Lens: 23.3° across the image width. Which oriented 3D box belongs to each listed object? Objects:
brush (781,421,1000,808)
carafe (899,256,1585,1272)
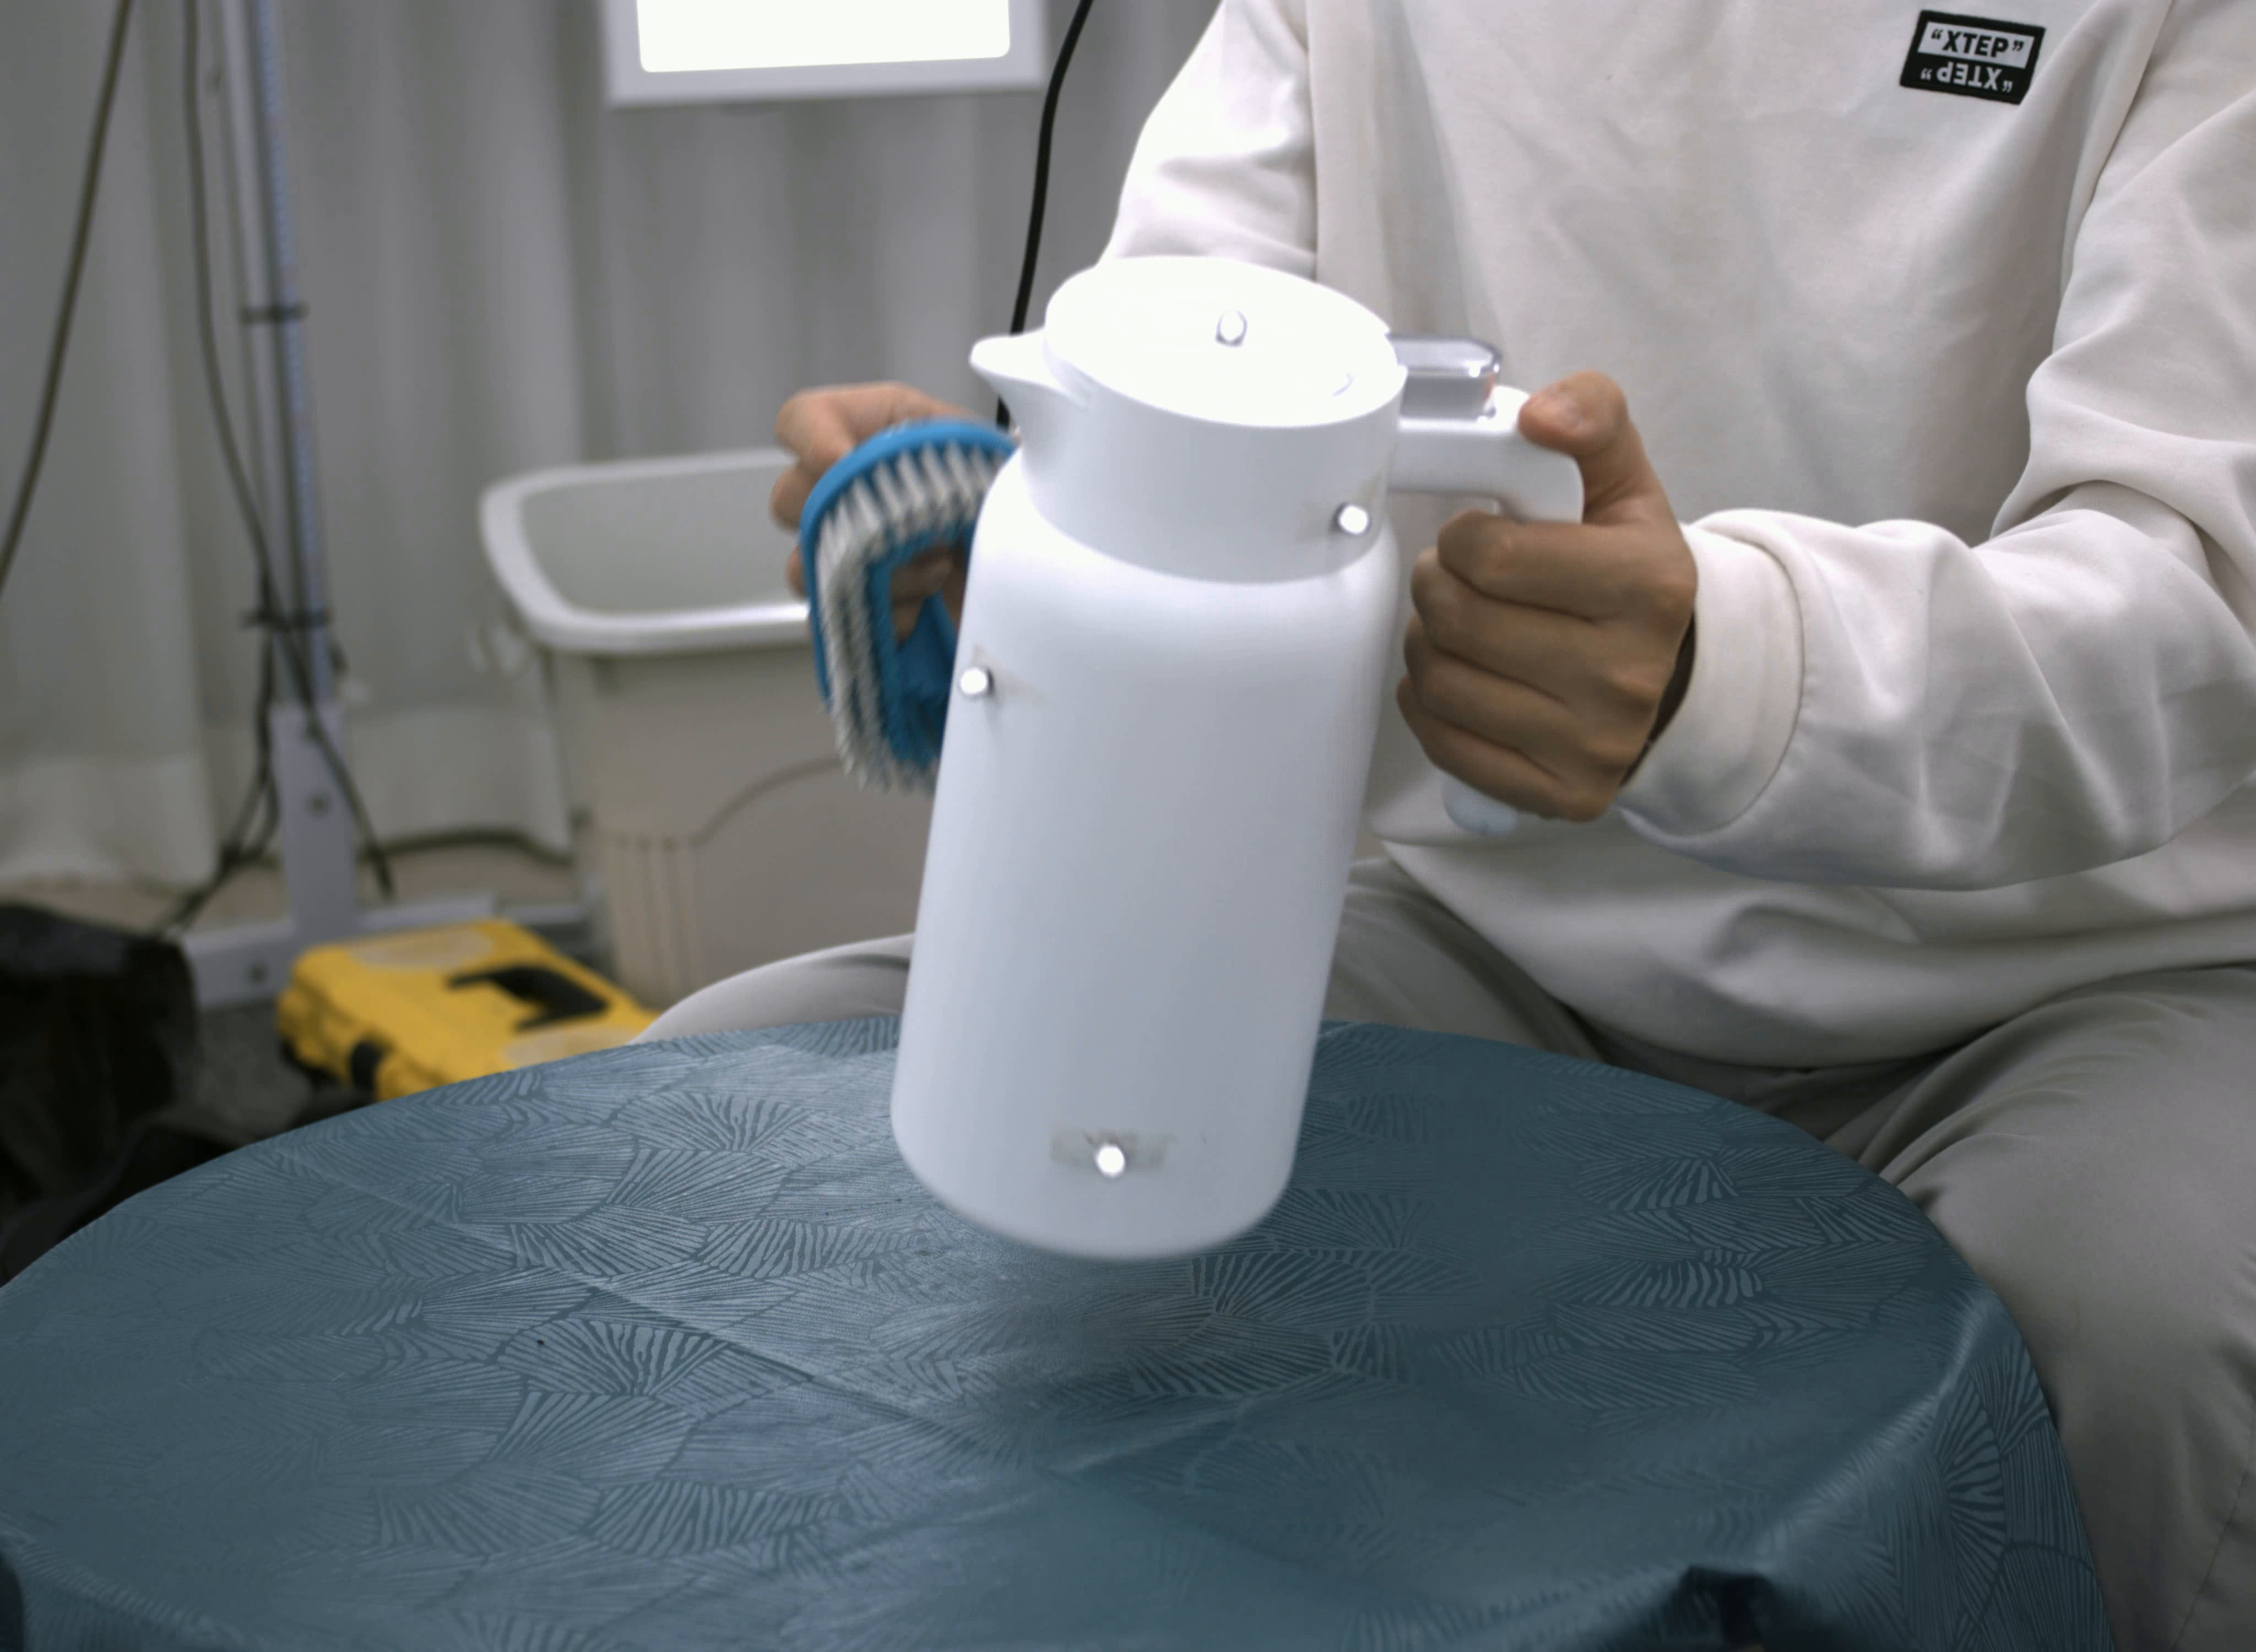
[{"bbox_3d":[-0.063,-0.071,1.650,0.084,0.140,0.065,-21,53,-11],"label":"brush"},{"bbox_3d":[0.025,-0.015,1.514,0.172,0.266,0.125,2,27,-13],"label":"carafe"}]
